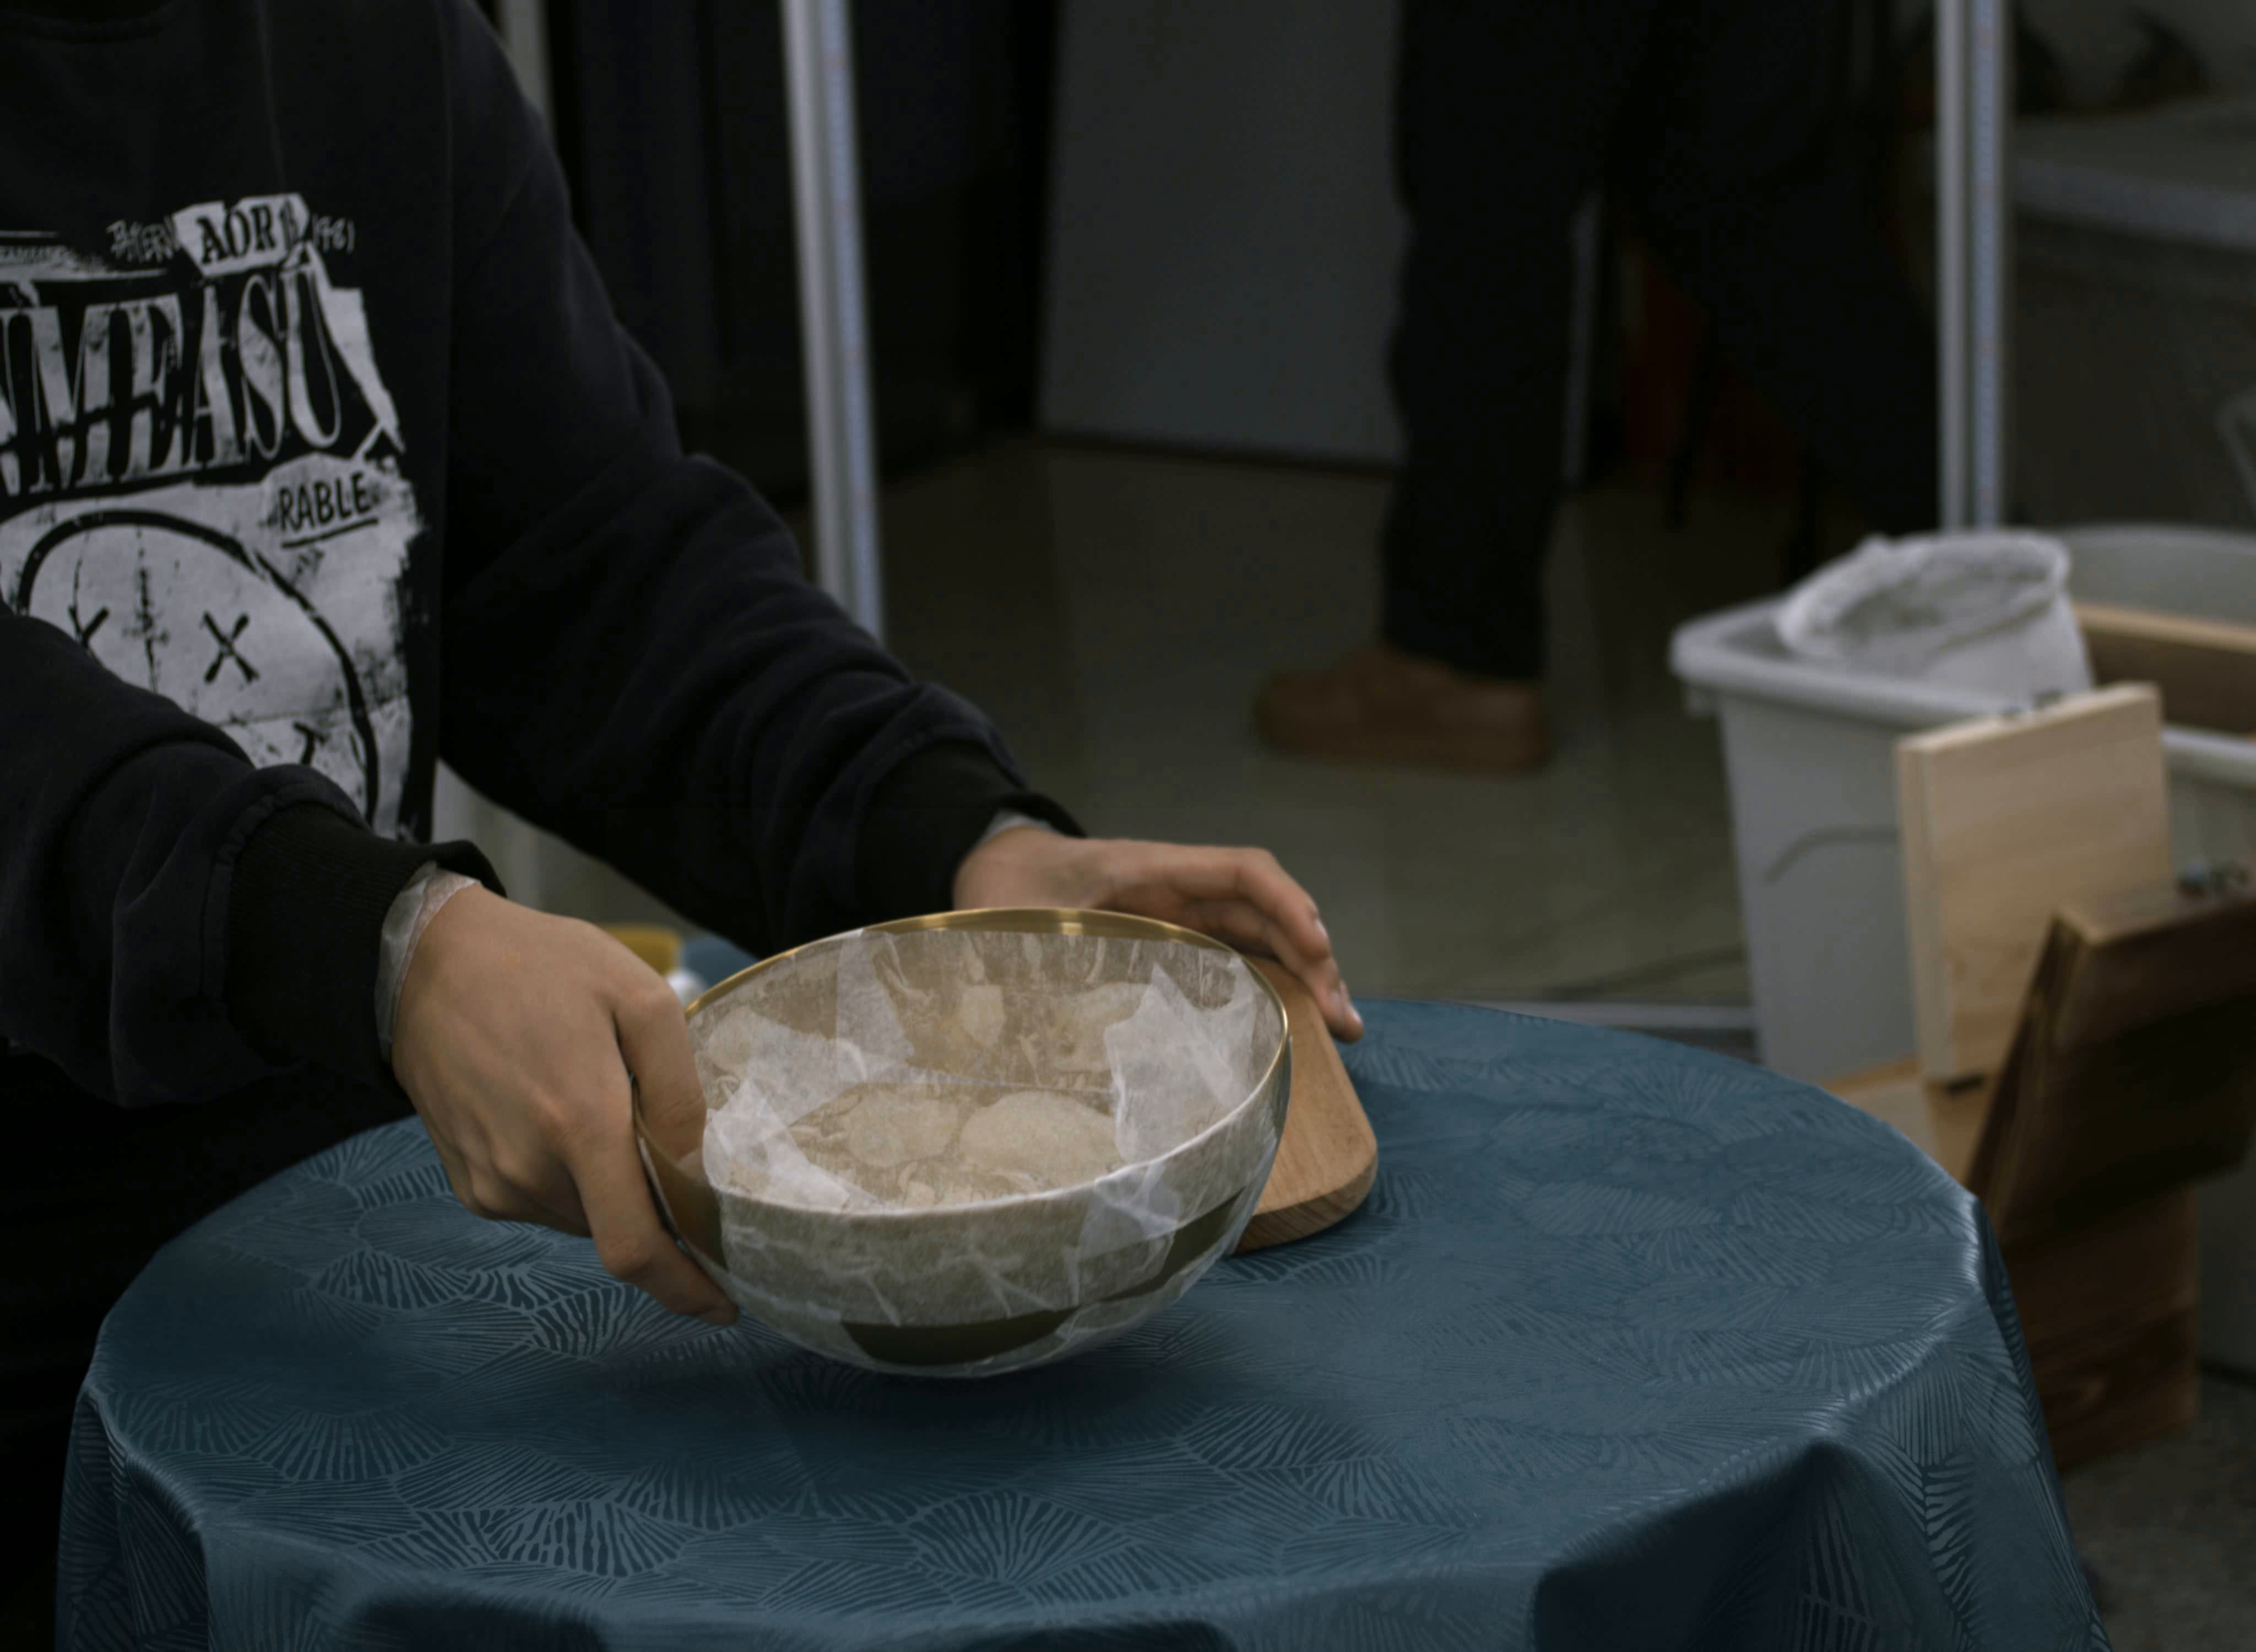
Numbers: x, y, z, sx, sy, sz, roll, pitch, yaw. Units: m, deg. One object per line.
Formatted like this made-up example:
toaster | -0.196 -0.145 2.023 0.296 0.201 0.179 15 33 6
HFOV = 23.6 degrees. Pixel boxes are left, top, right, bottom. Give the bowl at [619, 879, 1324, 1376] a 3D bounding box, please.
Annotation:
bowl | -0.043 0.101 1.618 0.212 0.095 0.215 -7 25 2

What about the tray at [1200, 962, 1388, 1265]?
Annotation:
tray | 0.024 0.092 1.802 0.100 0.020 0.233 -10 23 -5
